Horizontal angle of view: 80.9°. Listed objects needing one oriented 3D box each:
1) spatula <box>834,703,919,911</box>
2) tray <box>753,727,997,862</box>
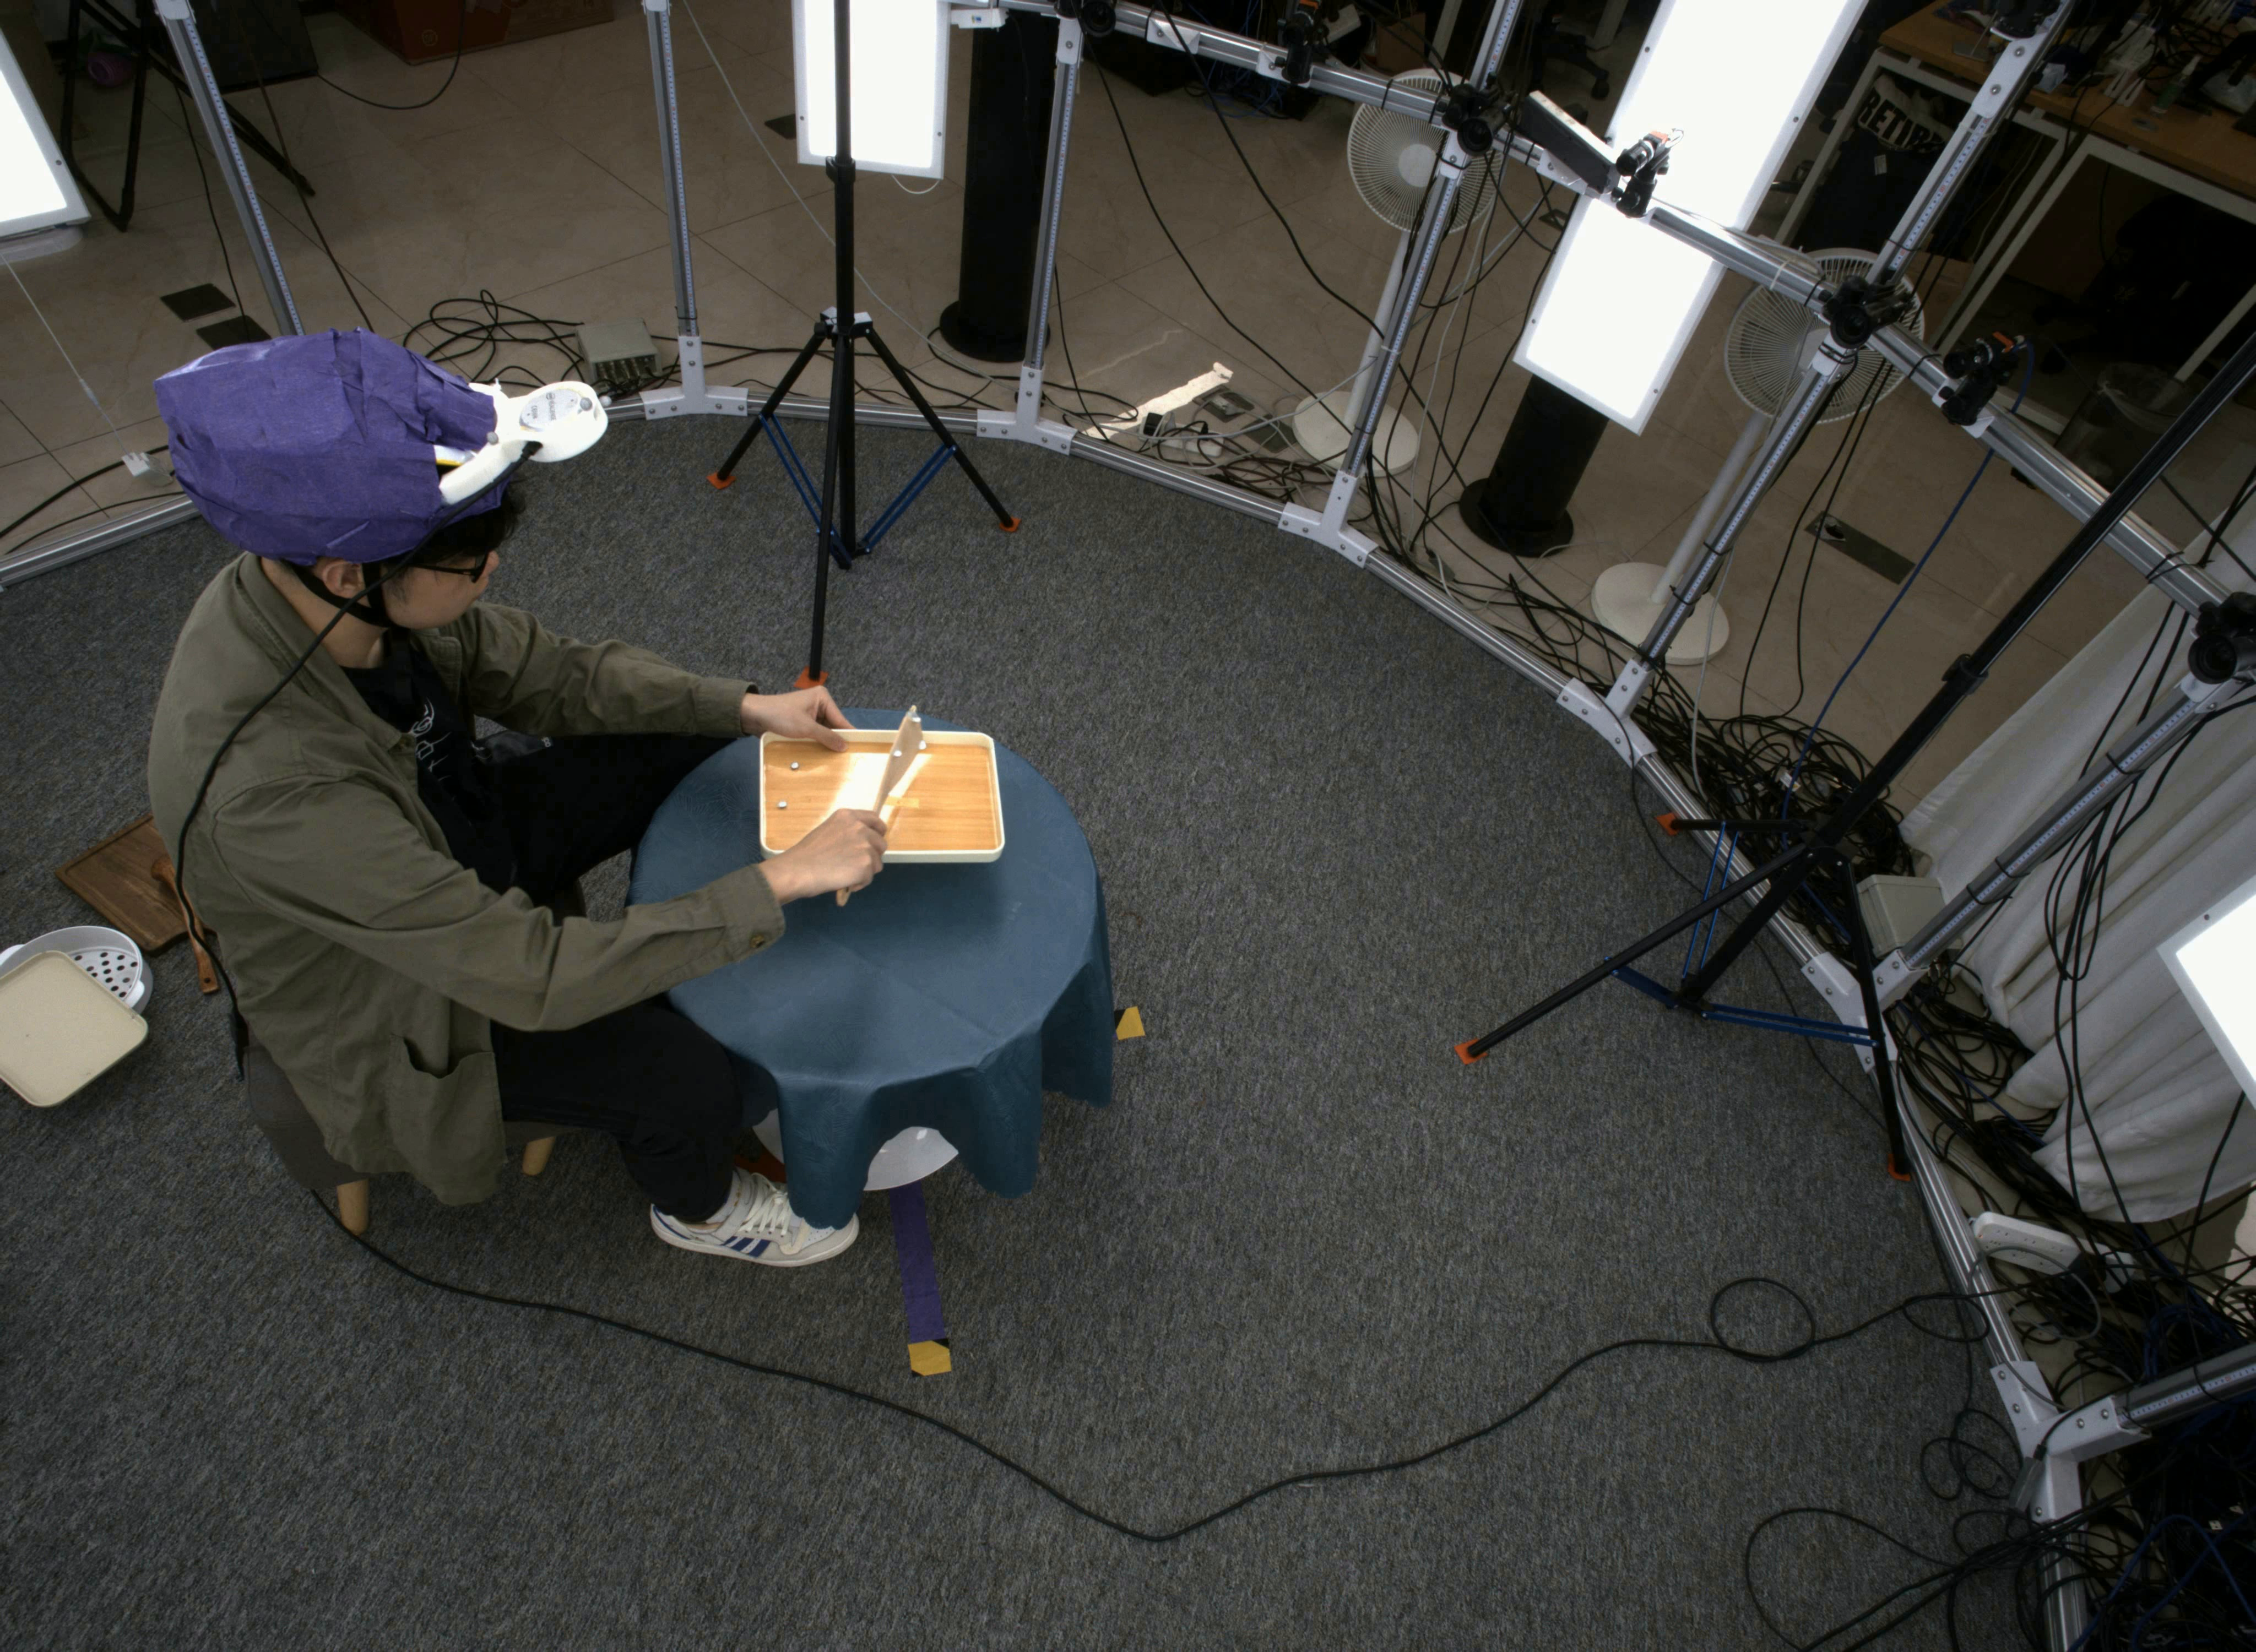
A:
[{"bbox_3d":[-0.295,-0.024,1.531,0.016,0.082,0.322,6,45,4],"label":"spatula"},{"bbox_3d":[-0.322,-0.041,1.652,0.301,0.028,0.188,0,57,-16],"label":"tray"}]
